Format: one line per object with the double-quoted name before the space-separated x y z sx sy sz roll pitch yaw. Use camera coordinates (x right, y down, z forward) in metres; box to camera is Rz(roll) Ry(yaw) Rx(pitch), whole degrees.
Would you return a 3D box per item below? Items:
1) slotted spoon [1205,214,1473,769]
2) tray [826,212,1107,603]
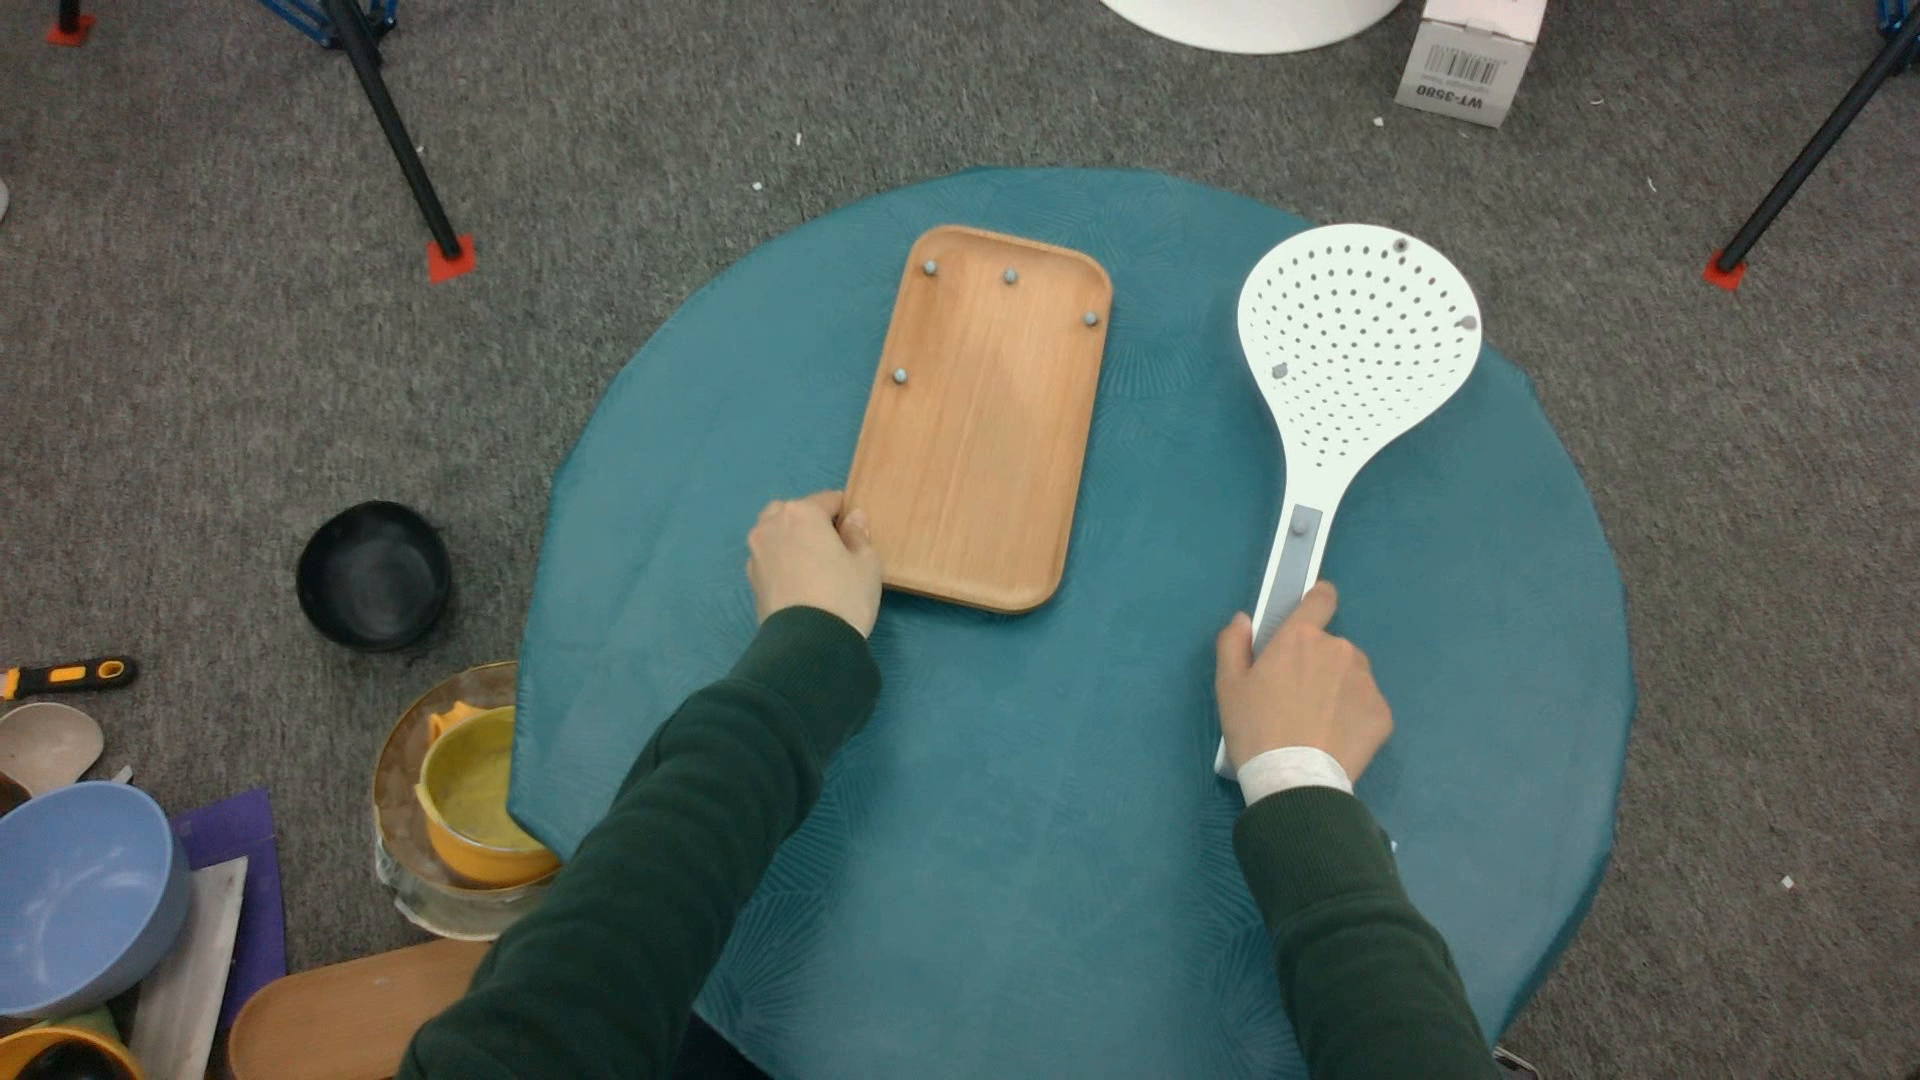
"slotted spoon" 0.194 -0.038 0.763 0.136 0.045 0.351 16 62 12
"tray" 0.008 -0.083 0.796 0.130 0.023 0.252 12 63 2
